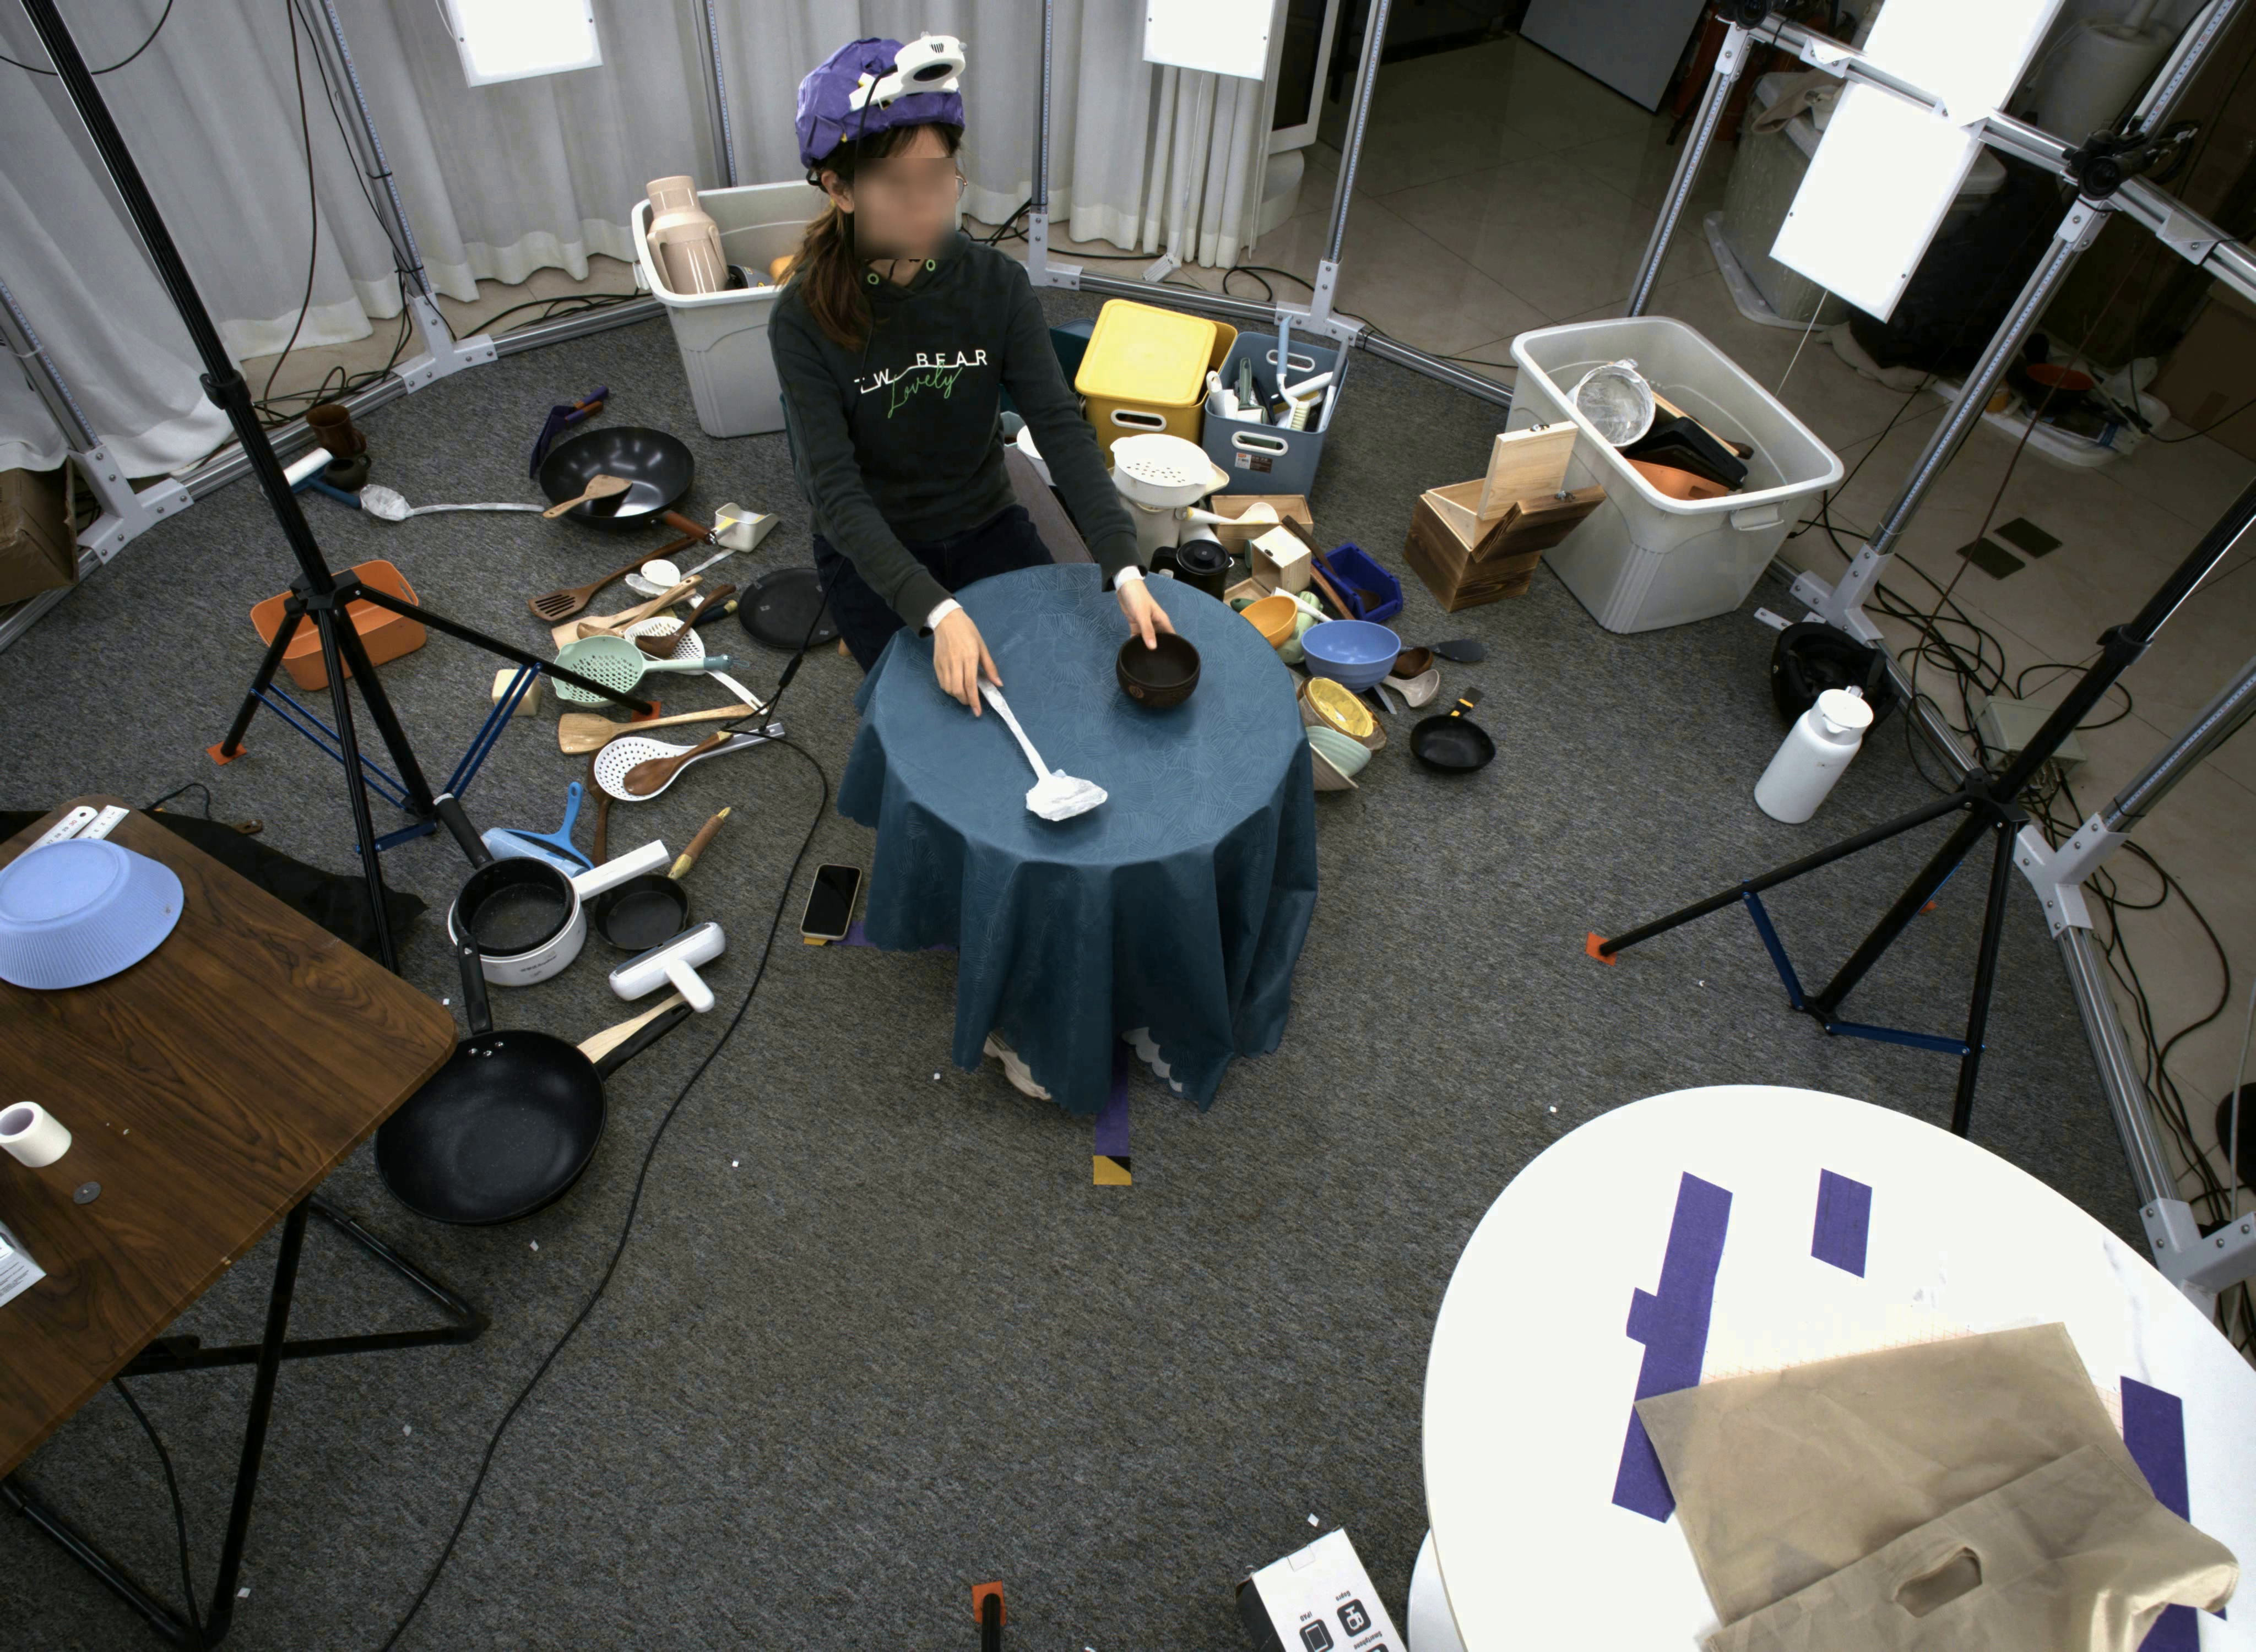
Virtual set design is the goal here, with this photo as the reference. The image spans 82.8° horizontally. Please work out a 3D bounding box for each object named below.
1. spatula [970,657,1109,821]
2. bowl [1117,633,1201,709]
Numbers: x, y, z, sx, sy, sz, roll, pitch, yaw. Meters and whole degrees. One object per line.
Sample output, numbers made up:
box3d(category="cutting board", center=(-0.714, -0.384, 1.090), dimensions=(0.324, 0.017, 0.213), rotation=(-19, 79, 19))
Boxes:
box3d(category="spatula", center=(-0.144, -0.130, 1.763), dimensions=(0.099, 0.043, 0.373), rotation=(-21, 53, -18))
box3d(category="bowl", center=(0.042, -0.212, 1.826), dimensions=(0.118, 0.068, 0.121), rotation=(2, 47, -3))
